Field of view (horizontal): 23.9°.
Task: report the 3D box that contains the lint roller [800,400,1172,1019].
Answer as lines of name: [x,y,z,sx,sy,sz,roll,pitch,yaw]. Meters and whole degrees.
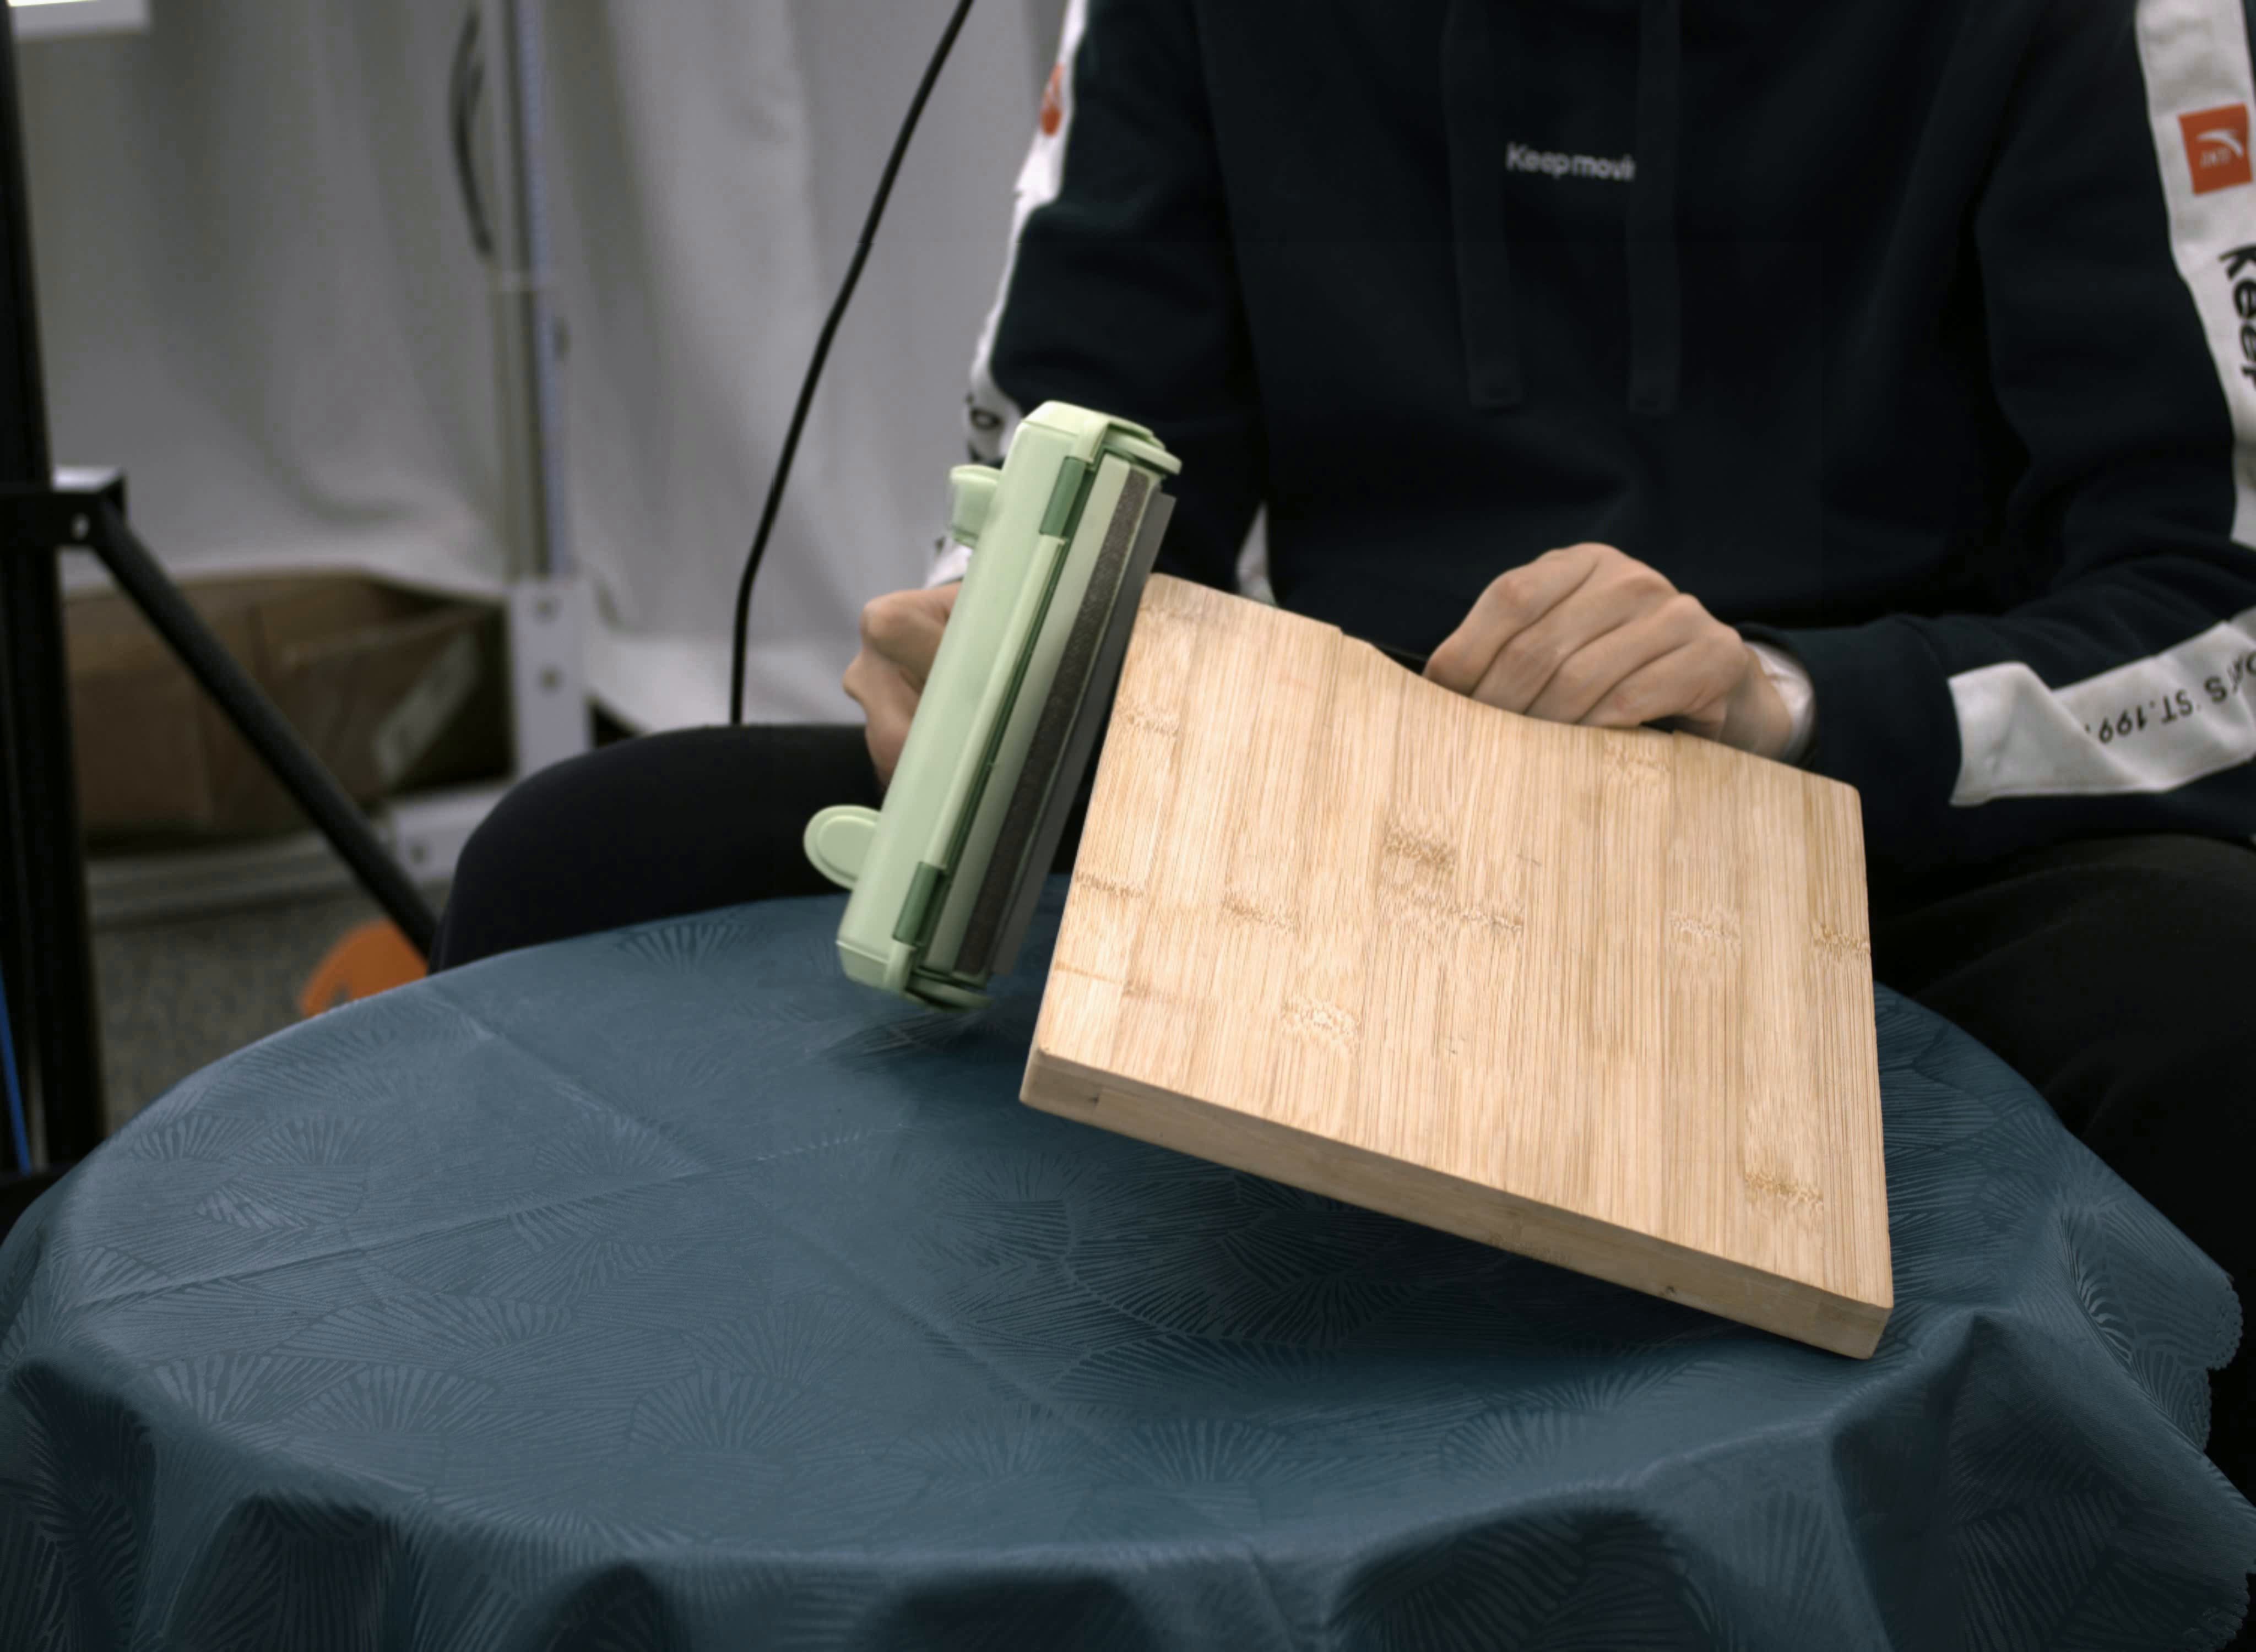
lint roller: [-0.056,-0.042,1.755,0.081,0.199,0.185,20,-1,-10]

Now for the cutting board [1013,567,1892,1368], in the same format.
cutting board: [0.103,0.031,1.554,0.249,0.023,0.349,17,25,-2]
